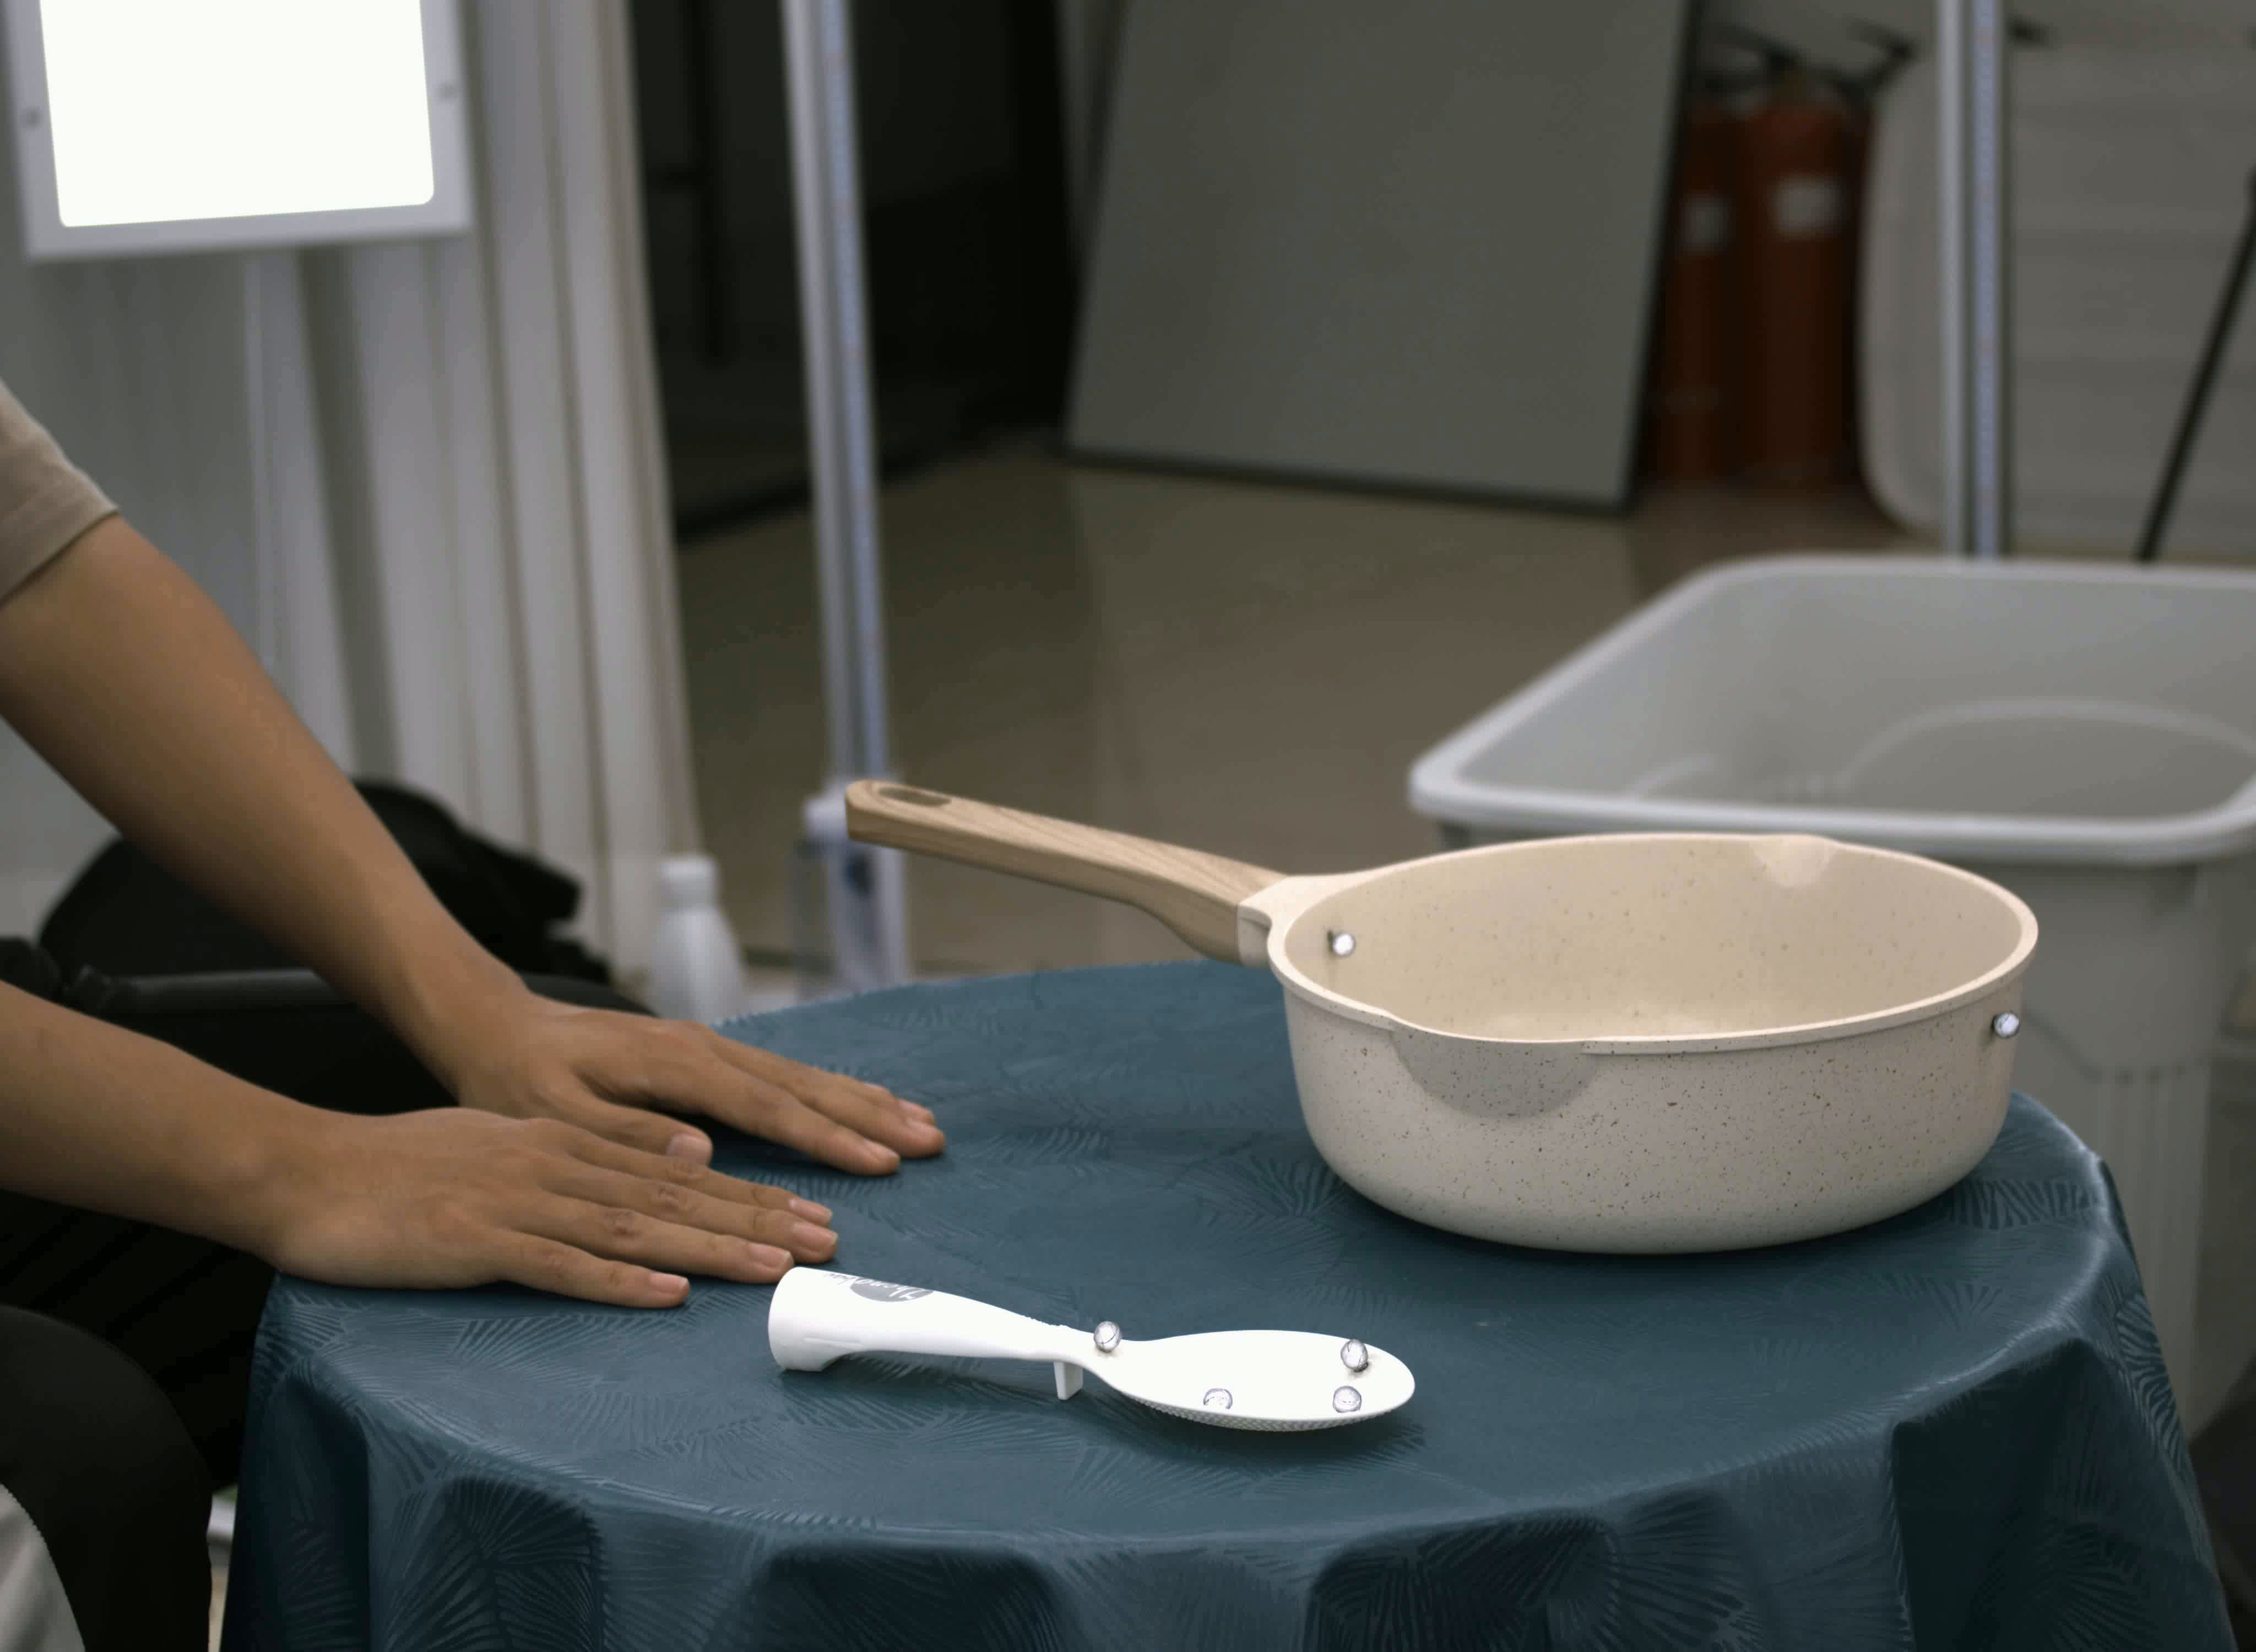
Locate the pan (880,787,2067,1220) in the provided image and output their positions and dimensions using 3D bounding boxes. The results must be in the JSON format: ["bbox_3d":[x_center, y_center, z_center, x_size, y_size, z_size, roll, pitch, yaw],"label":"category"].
[{"bbox_3d":[0.106,0.048,1.821,0.437,0.103,0.259,4,17,31],"label":"pan"}]

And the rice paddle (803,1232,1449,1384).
[{"bbox_3d":[0.000,0.142,1.592,0.205,0.030,0.068,3,17,27],"label":"rice paddle"}]
